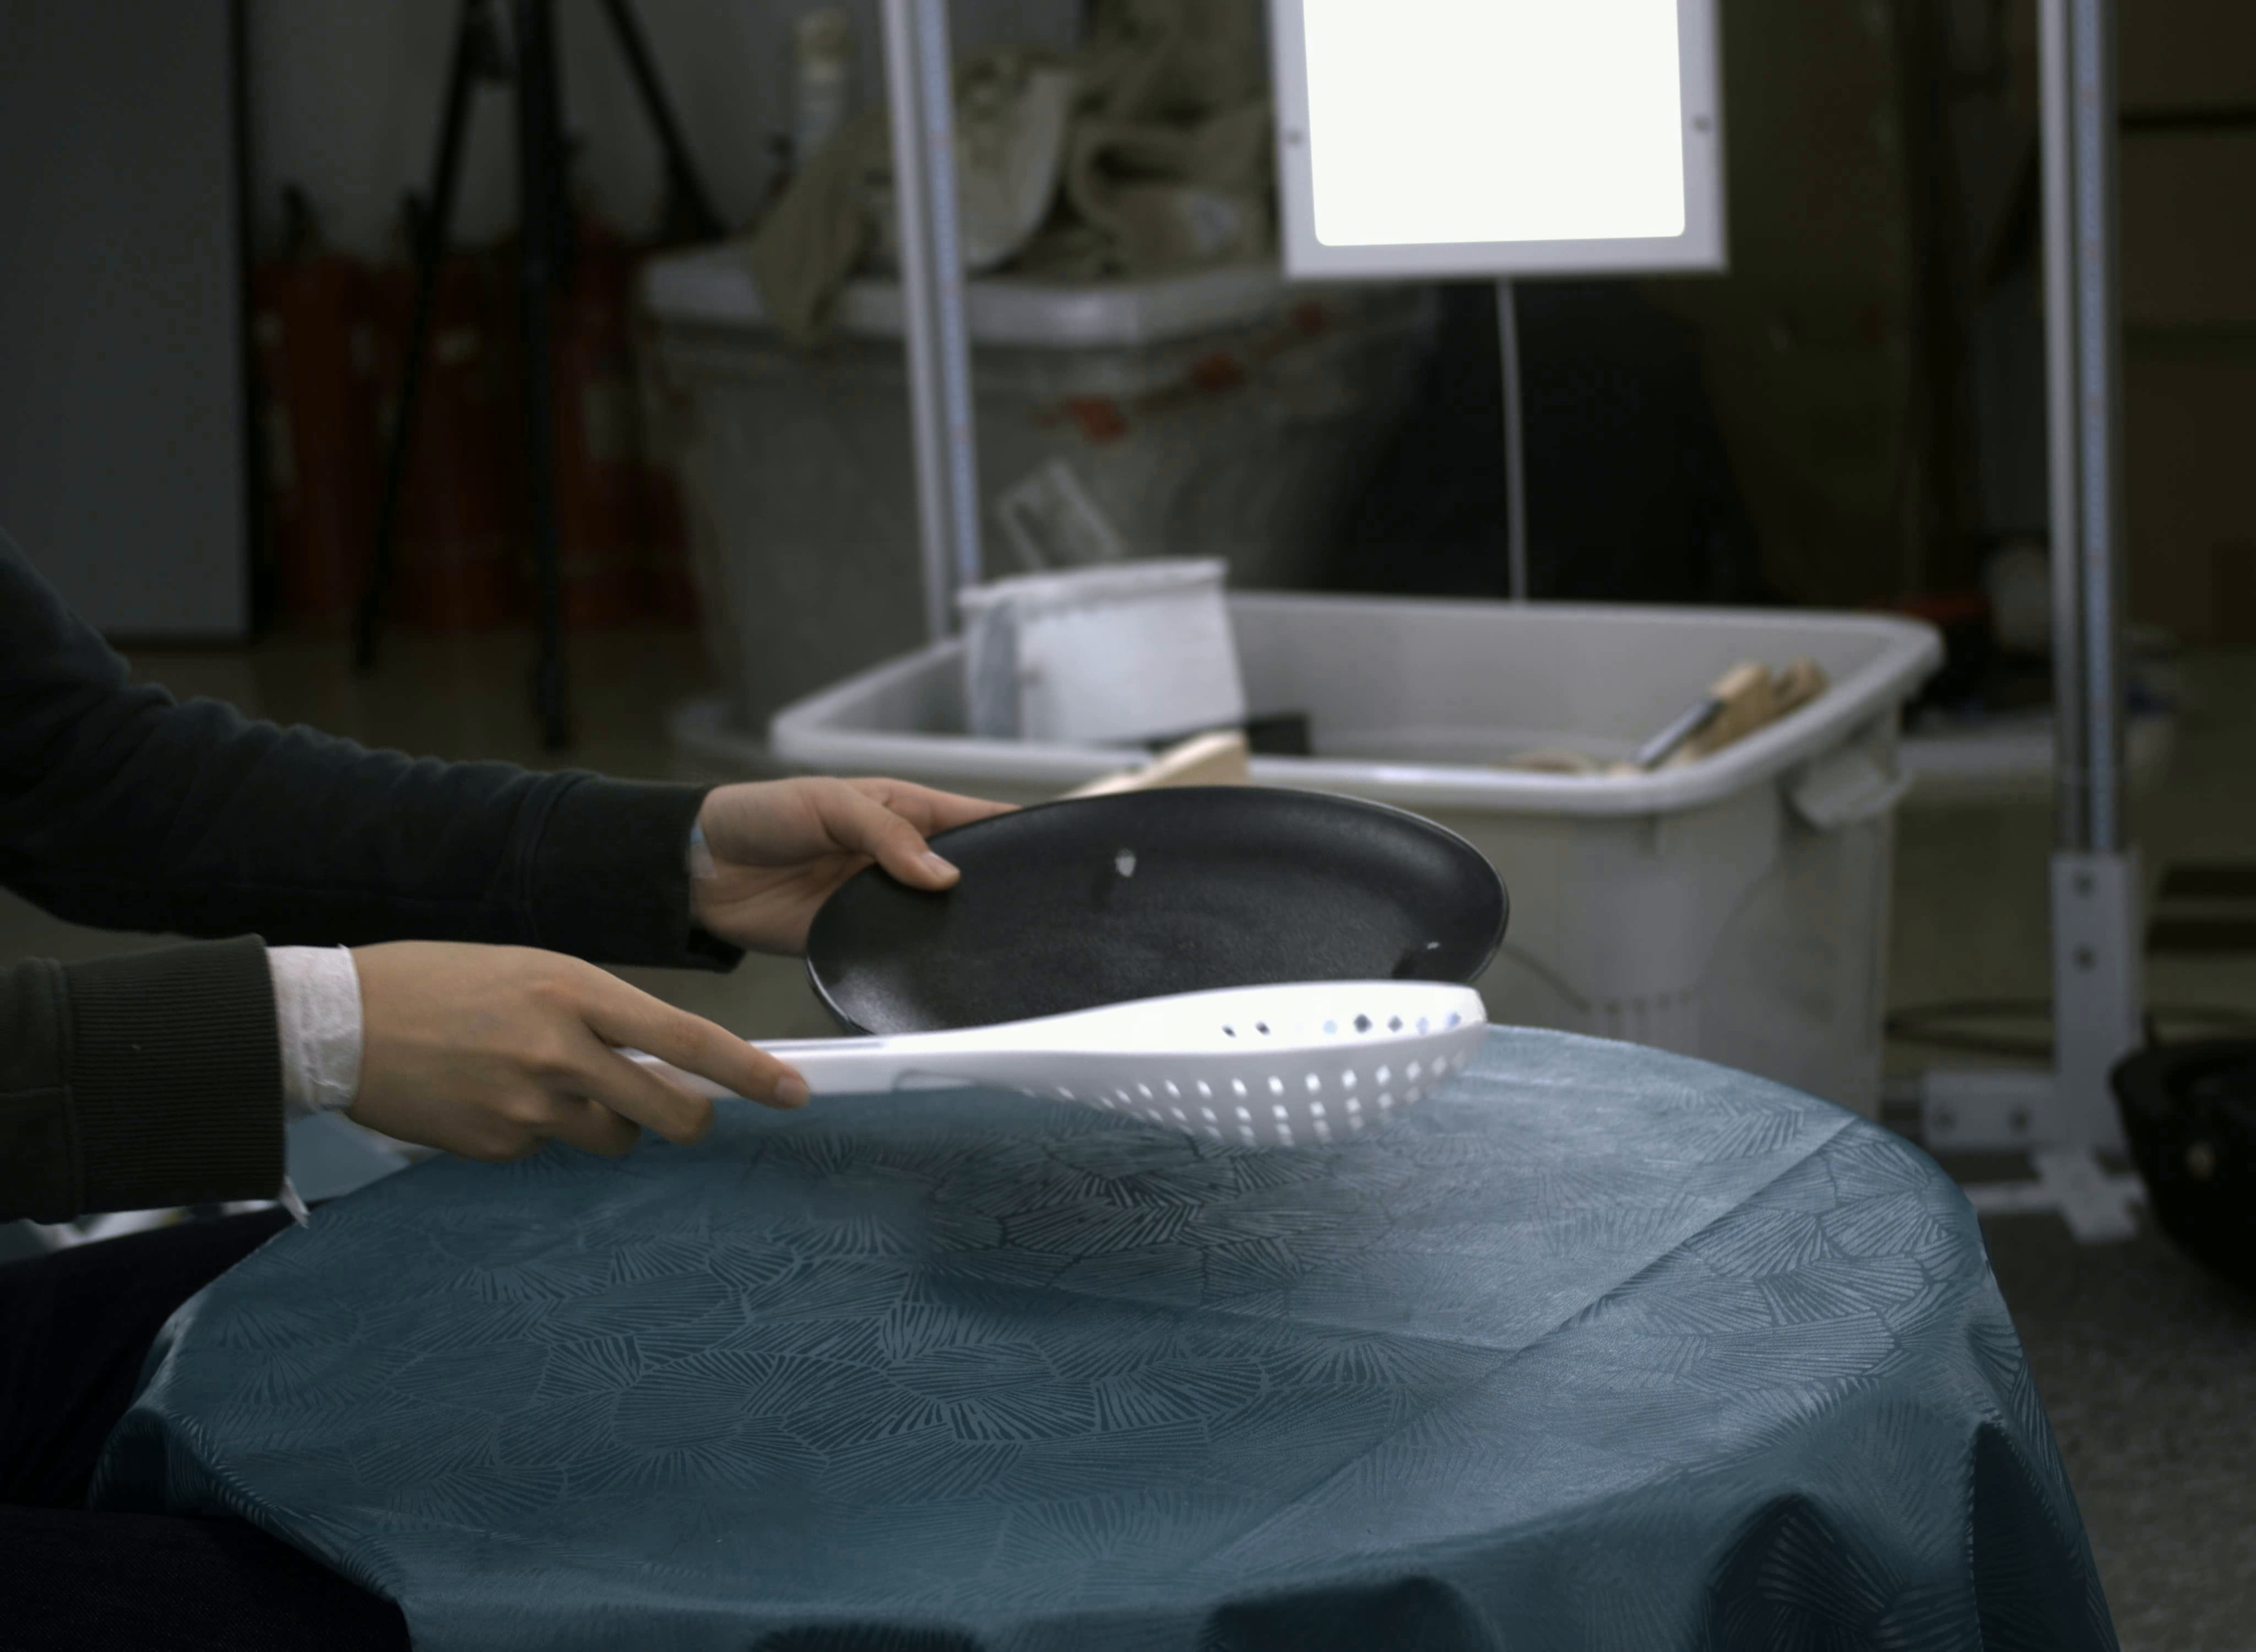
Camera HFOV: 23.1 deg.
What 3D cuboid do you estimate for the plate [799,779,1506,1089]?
[{"bbox_3d":[0.009,0.041,1.884,0.244,0.023,0.244,-6,23,1],"label":"plate"}]

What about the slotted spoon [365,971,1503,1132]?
[{"bbox_3d":[-0.060,0.067,1.683,0.351,0.046,0.135,1,5,7],"label":"slotted spoon"}]
